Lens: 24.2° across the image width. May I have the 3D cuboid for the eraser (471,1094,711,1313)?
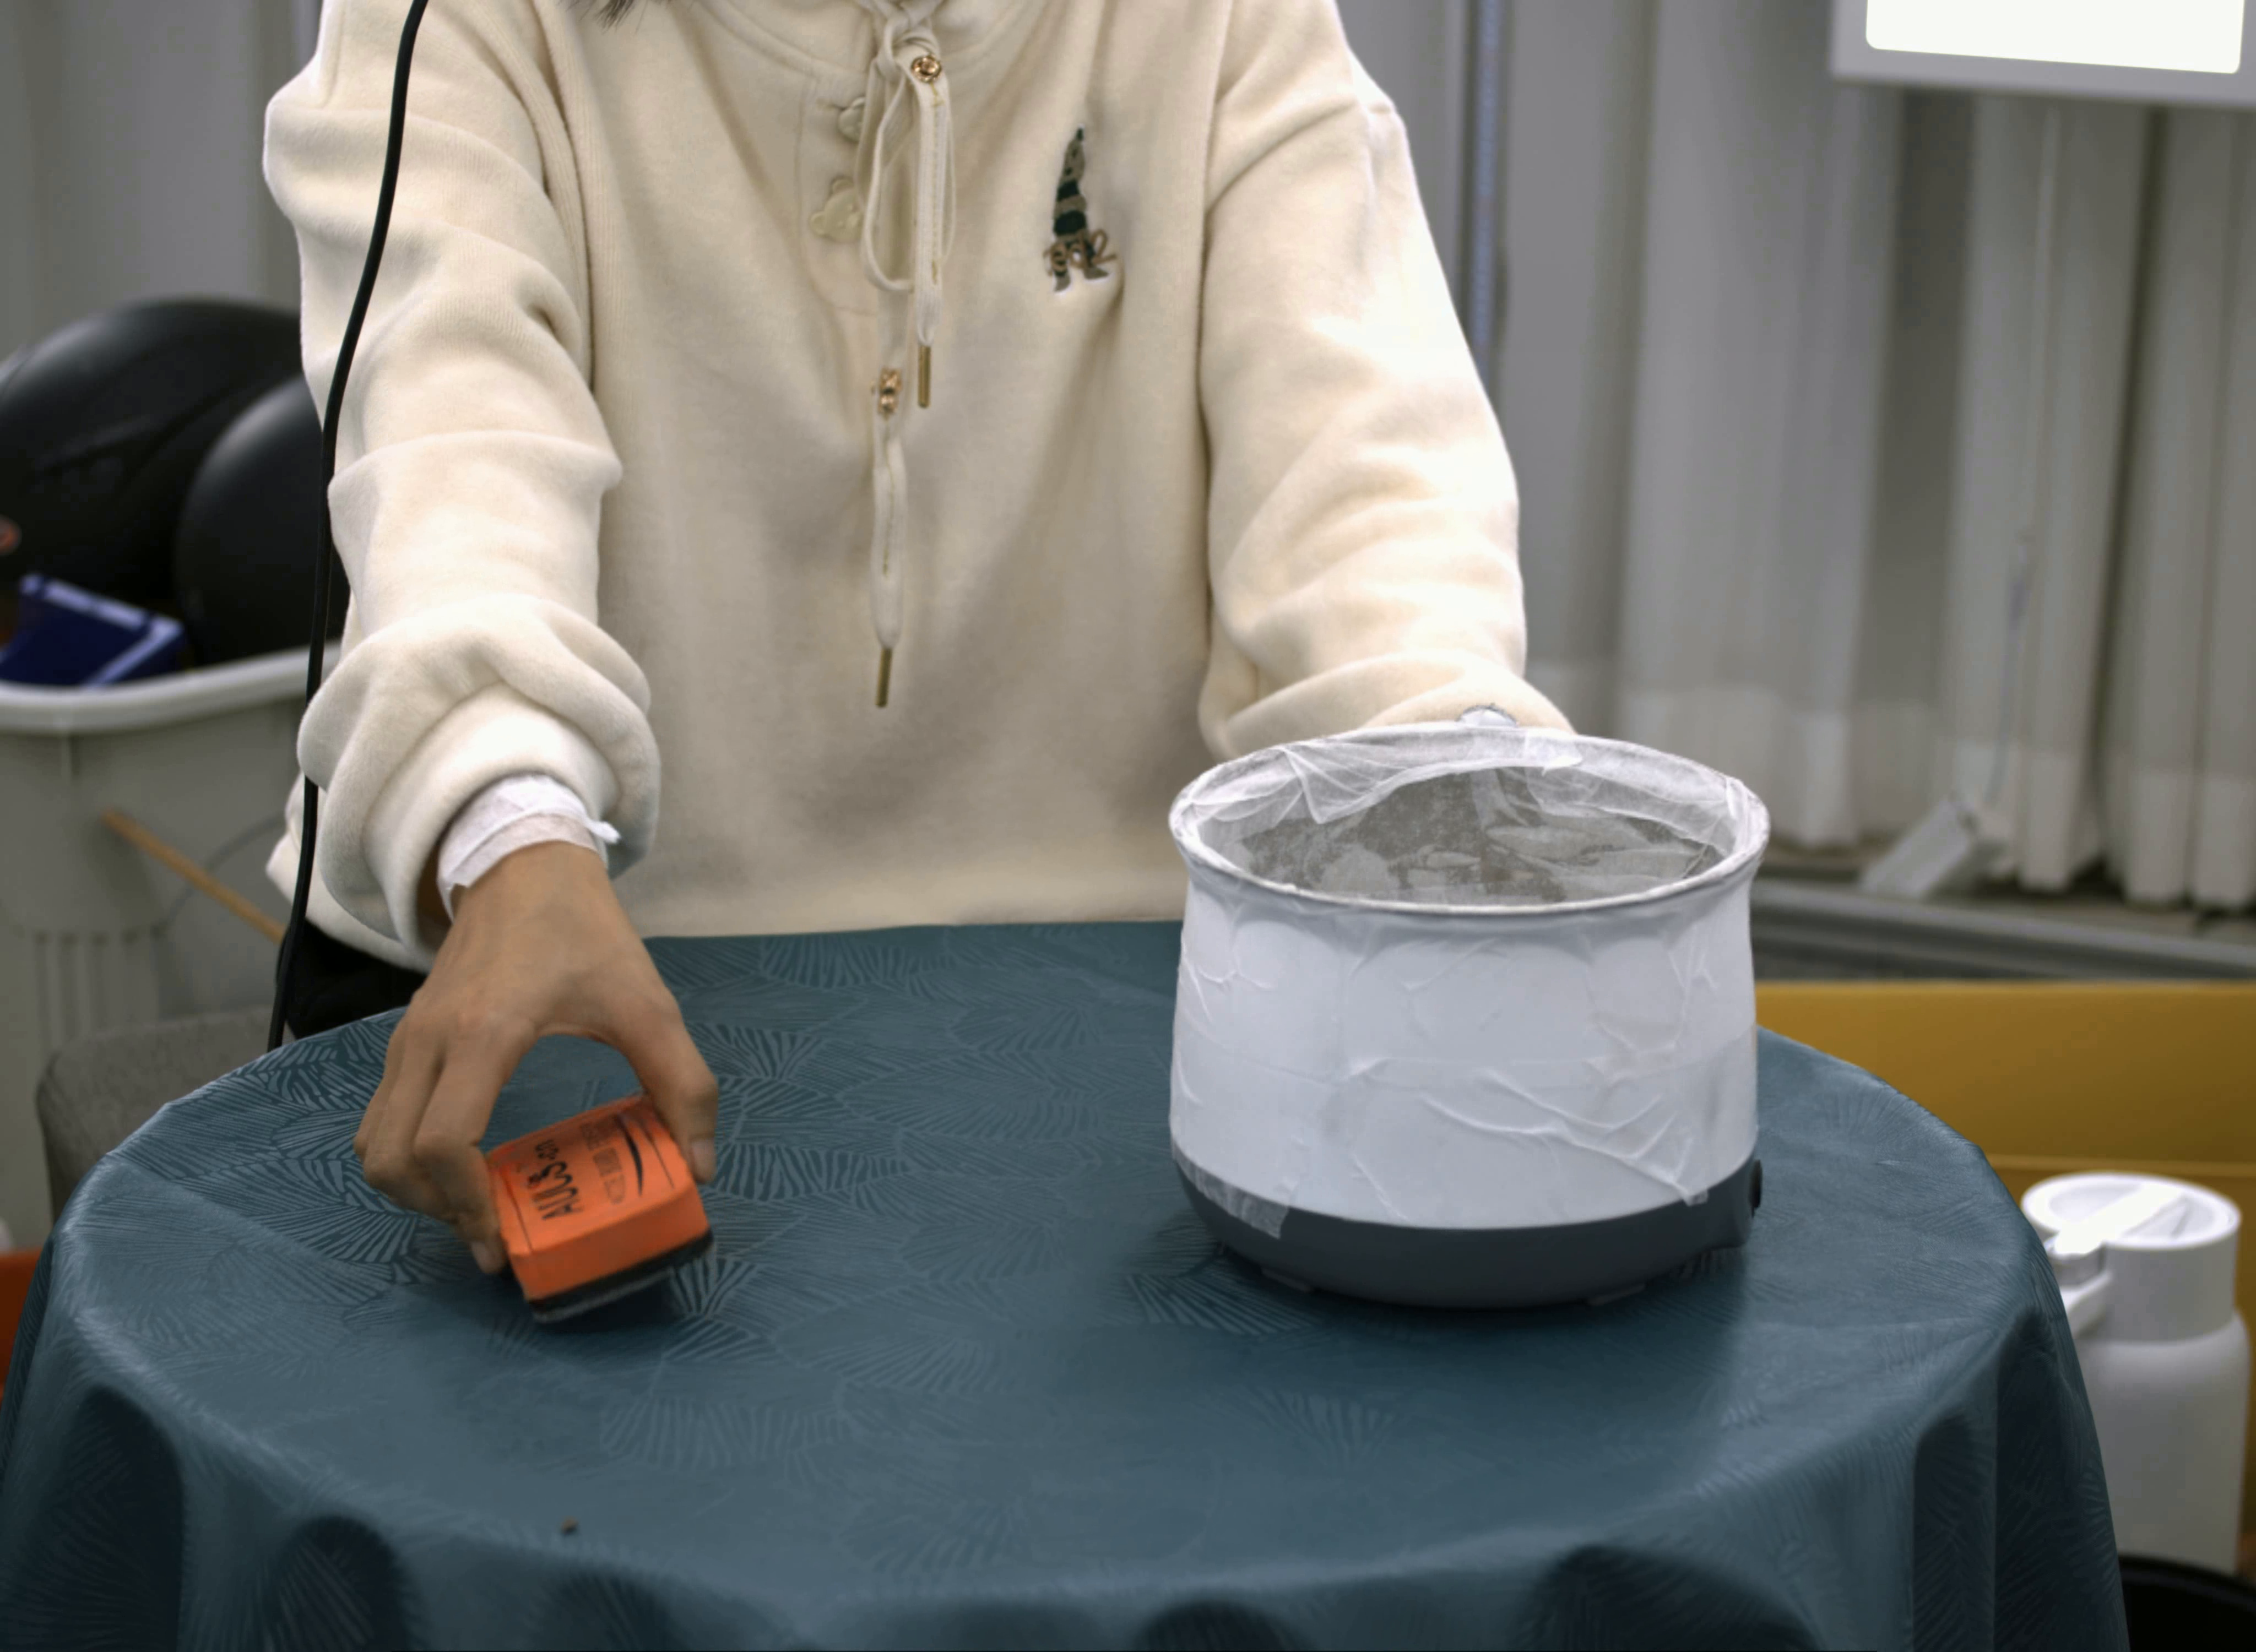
[{"bbox_3d":[-0.158,0.109,1.542,0.059,0.023,0.107,-19,16,-8],"label":"eraser"}]

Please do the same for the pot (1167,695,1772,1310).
[{"bbox_3d":[0.103,0.047,1.587,0.178,0.138,0.232,1,19,4],"label":"pot"}]
